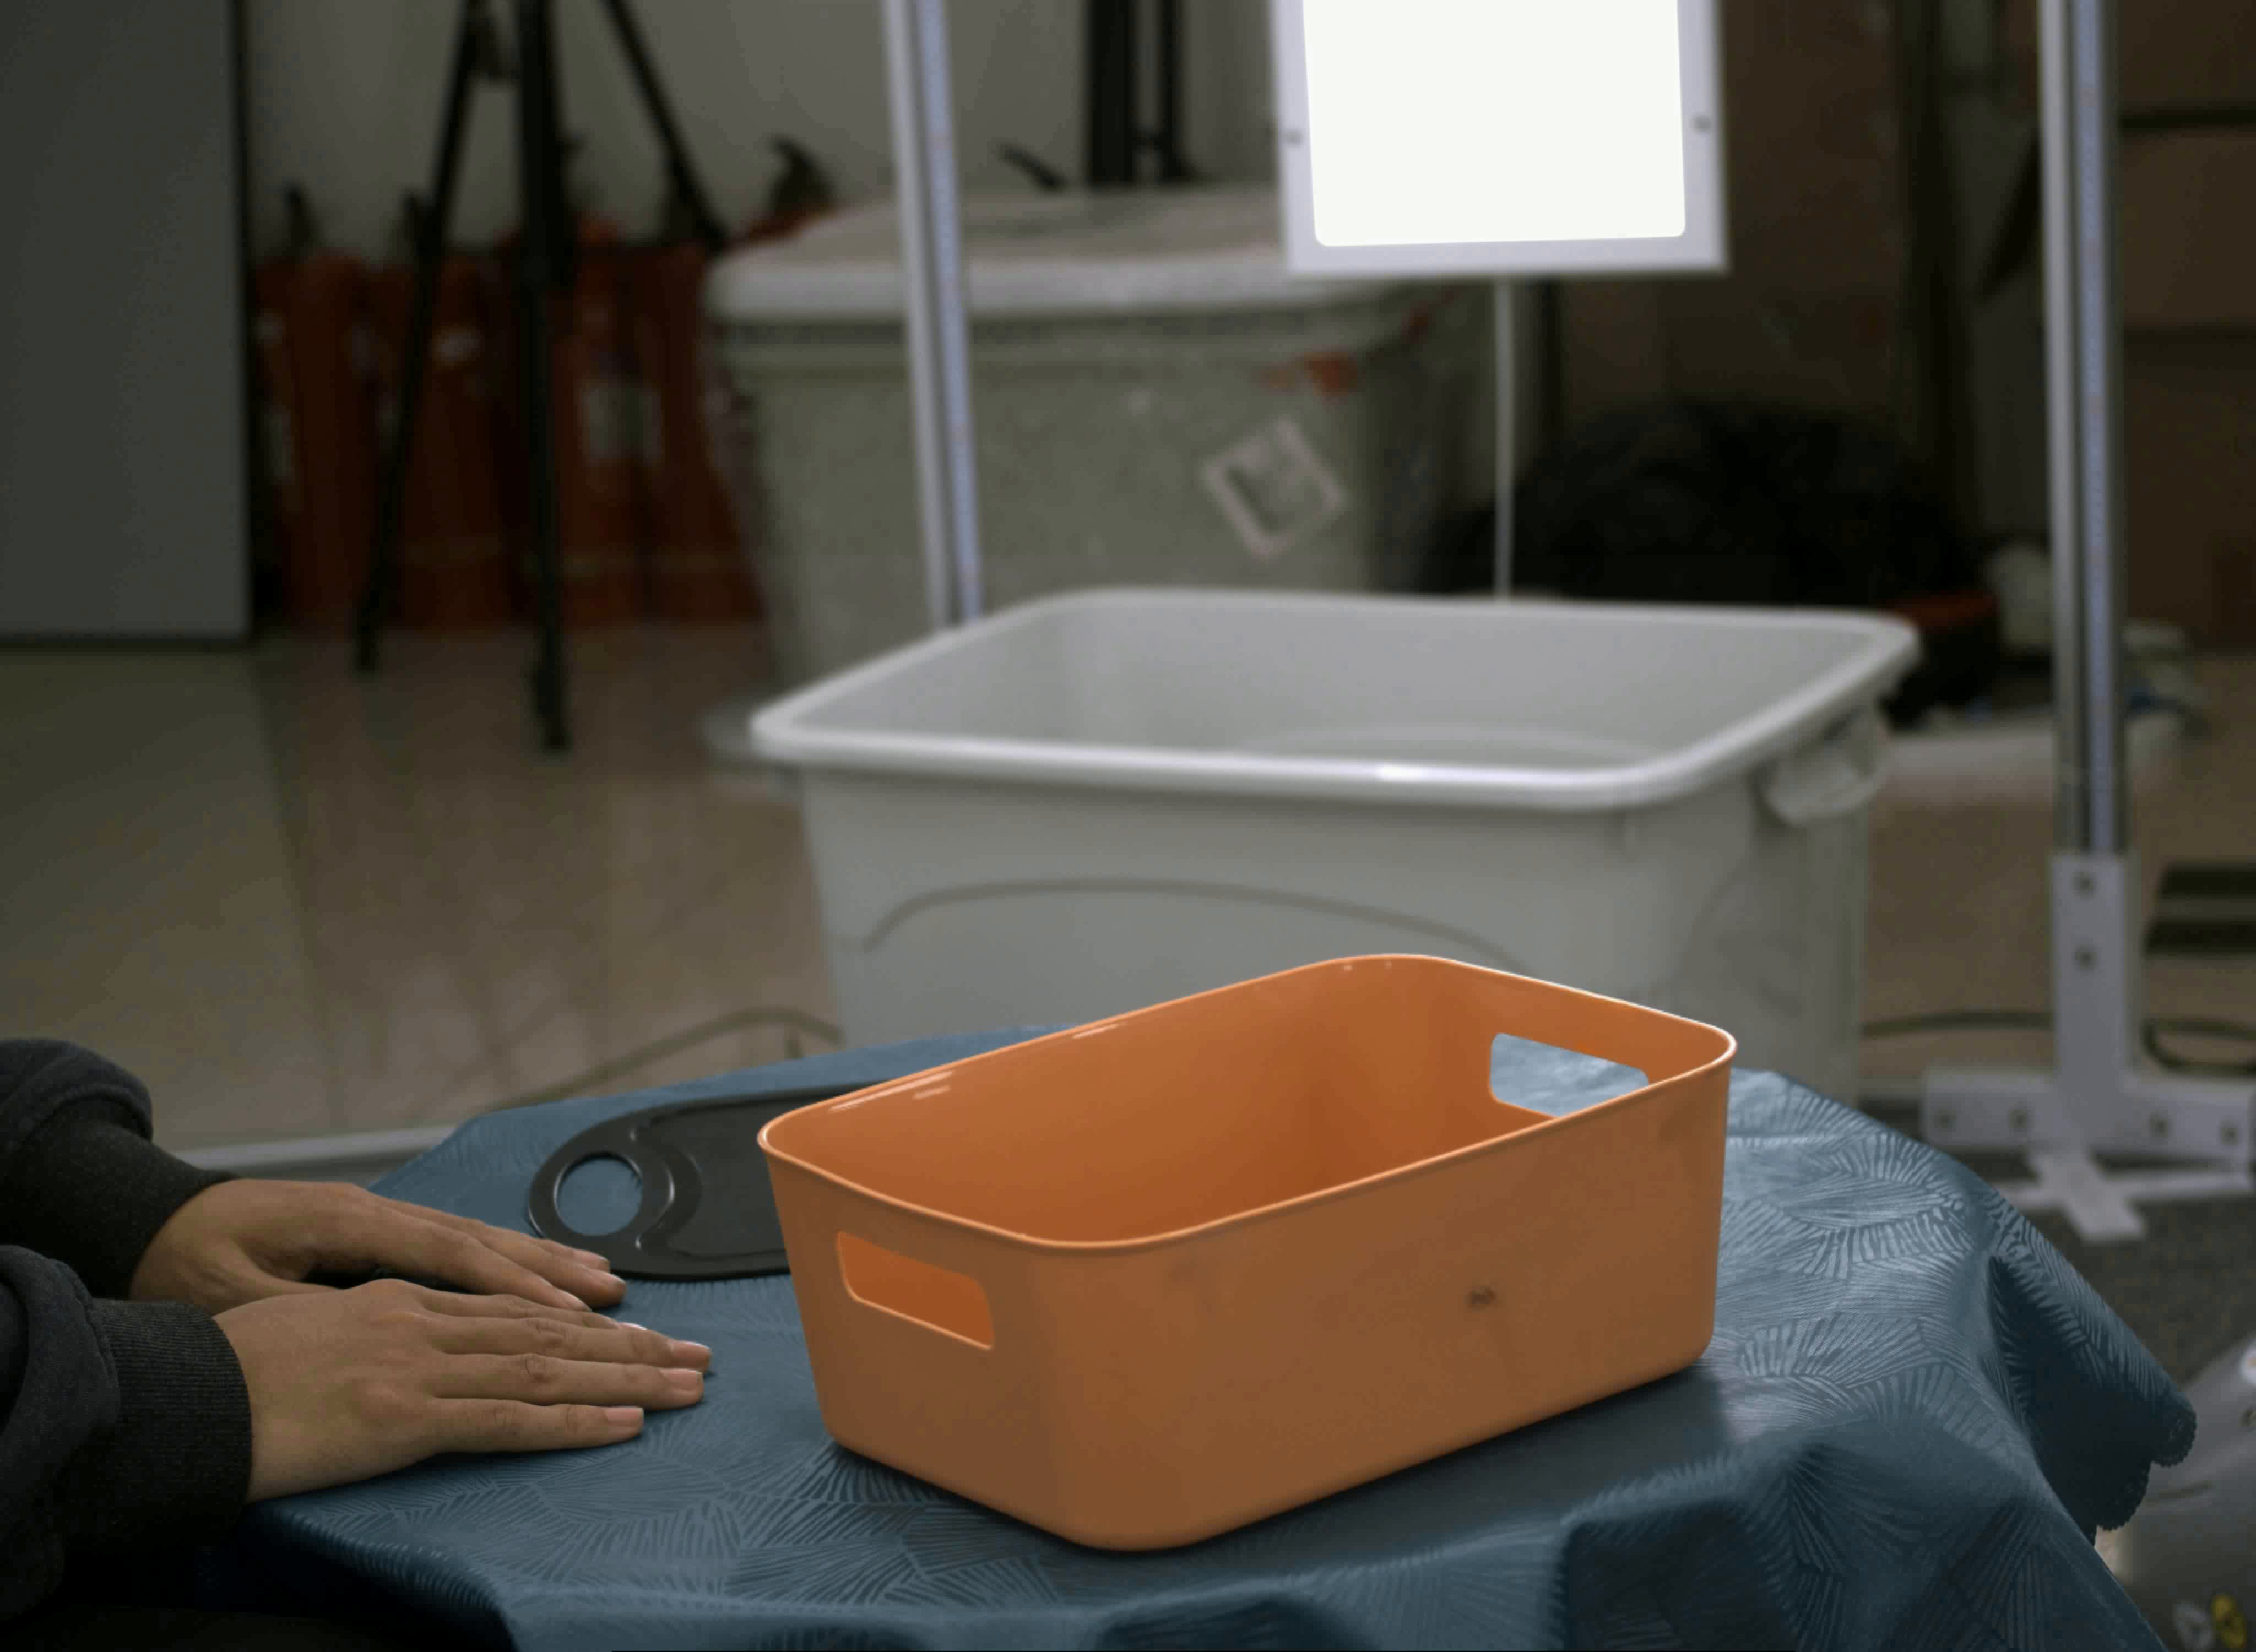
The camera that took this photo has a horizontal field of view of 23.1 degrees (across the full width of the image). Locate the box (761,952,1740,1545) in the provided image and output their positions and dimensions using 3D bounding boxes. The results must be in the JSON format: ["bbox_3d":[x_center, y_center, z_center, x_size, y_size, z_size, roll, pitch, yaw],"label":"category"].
[{"bbox_3d":[0.040,0.125,1.670,0.266,0.103,0.203,-14,17,-34],"label":"box"}]

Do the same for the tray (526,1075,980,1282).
[{"bbox_3d":[-0.050,0.116,1.944,0.324,0.010,0.211,-6,13,-3],"label":"tray"}]
